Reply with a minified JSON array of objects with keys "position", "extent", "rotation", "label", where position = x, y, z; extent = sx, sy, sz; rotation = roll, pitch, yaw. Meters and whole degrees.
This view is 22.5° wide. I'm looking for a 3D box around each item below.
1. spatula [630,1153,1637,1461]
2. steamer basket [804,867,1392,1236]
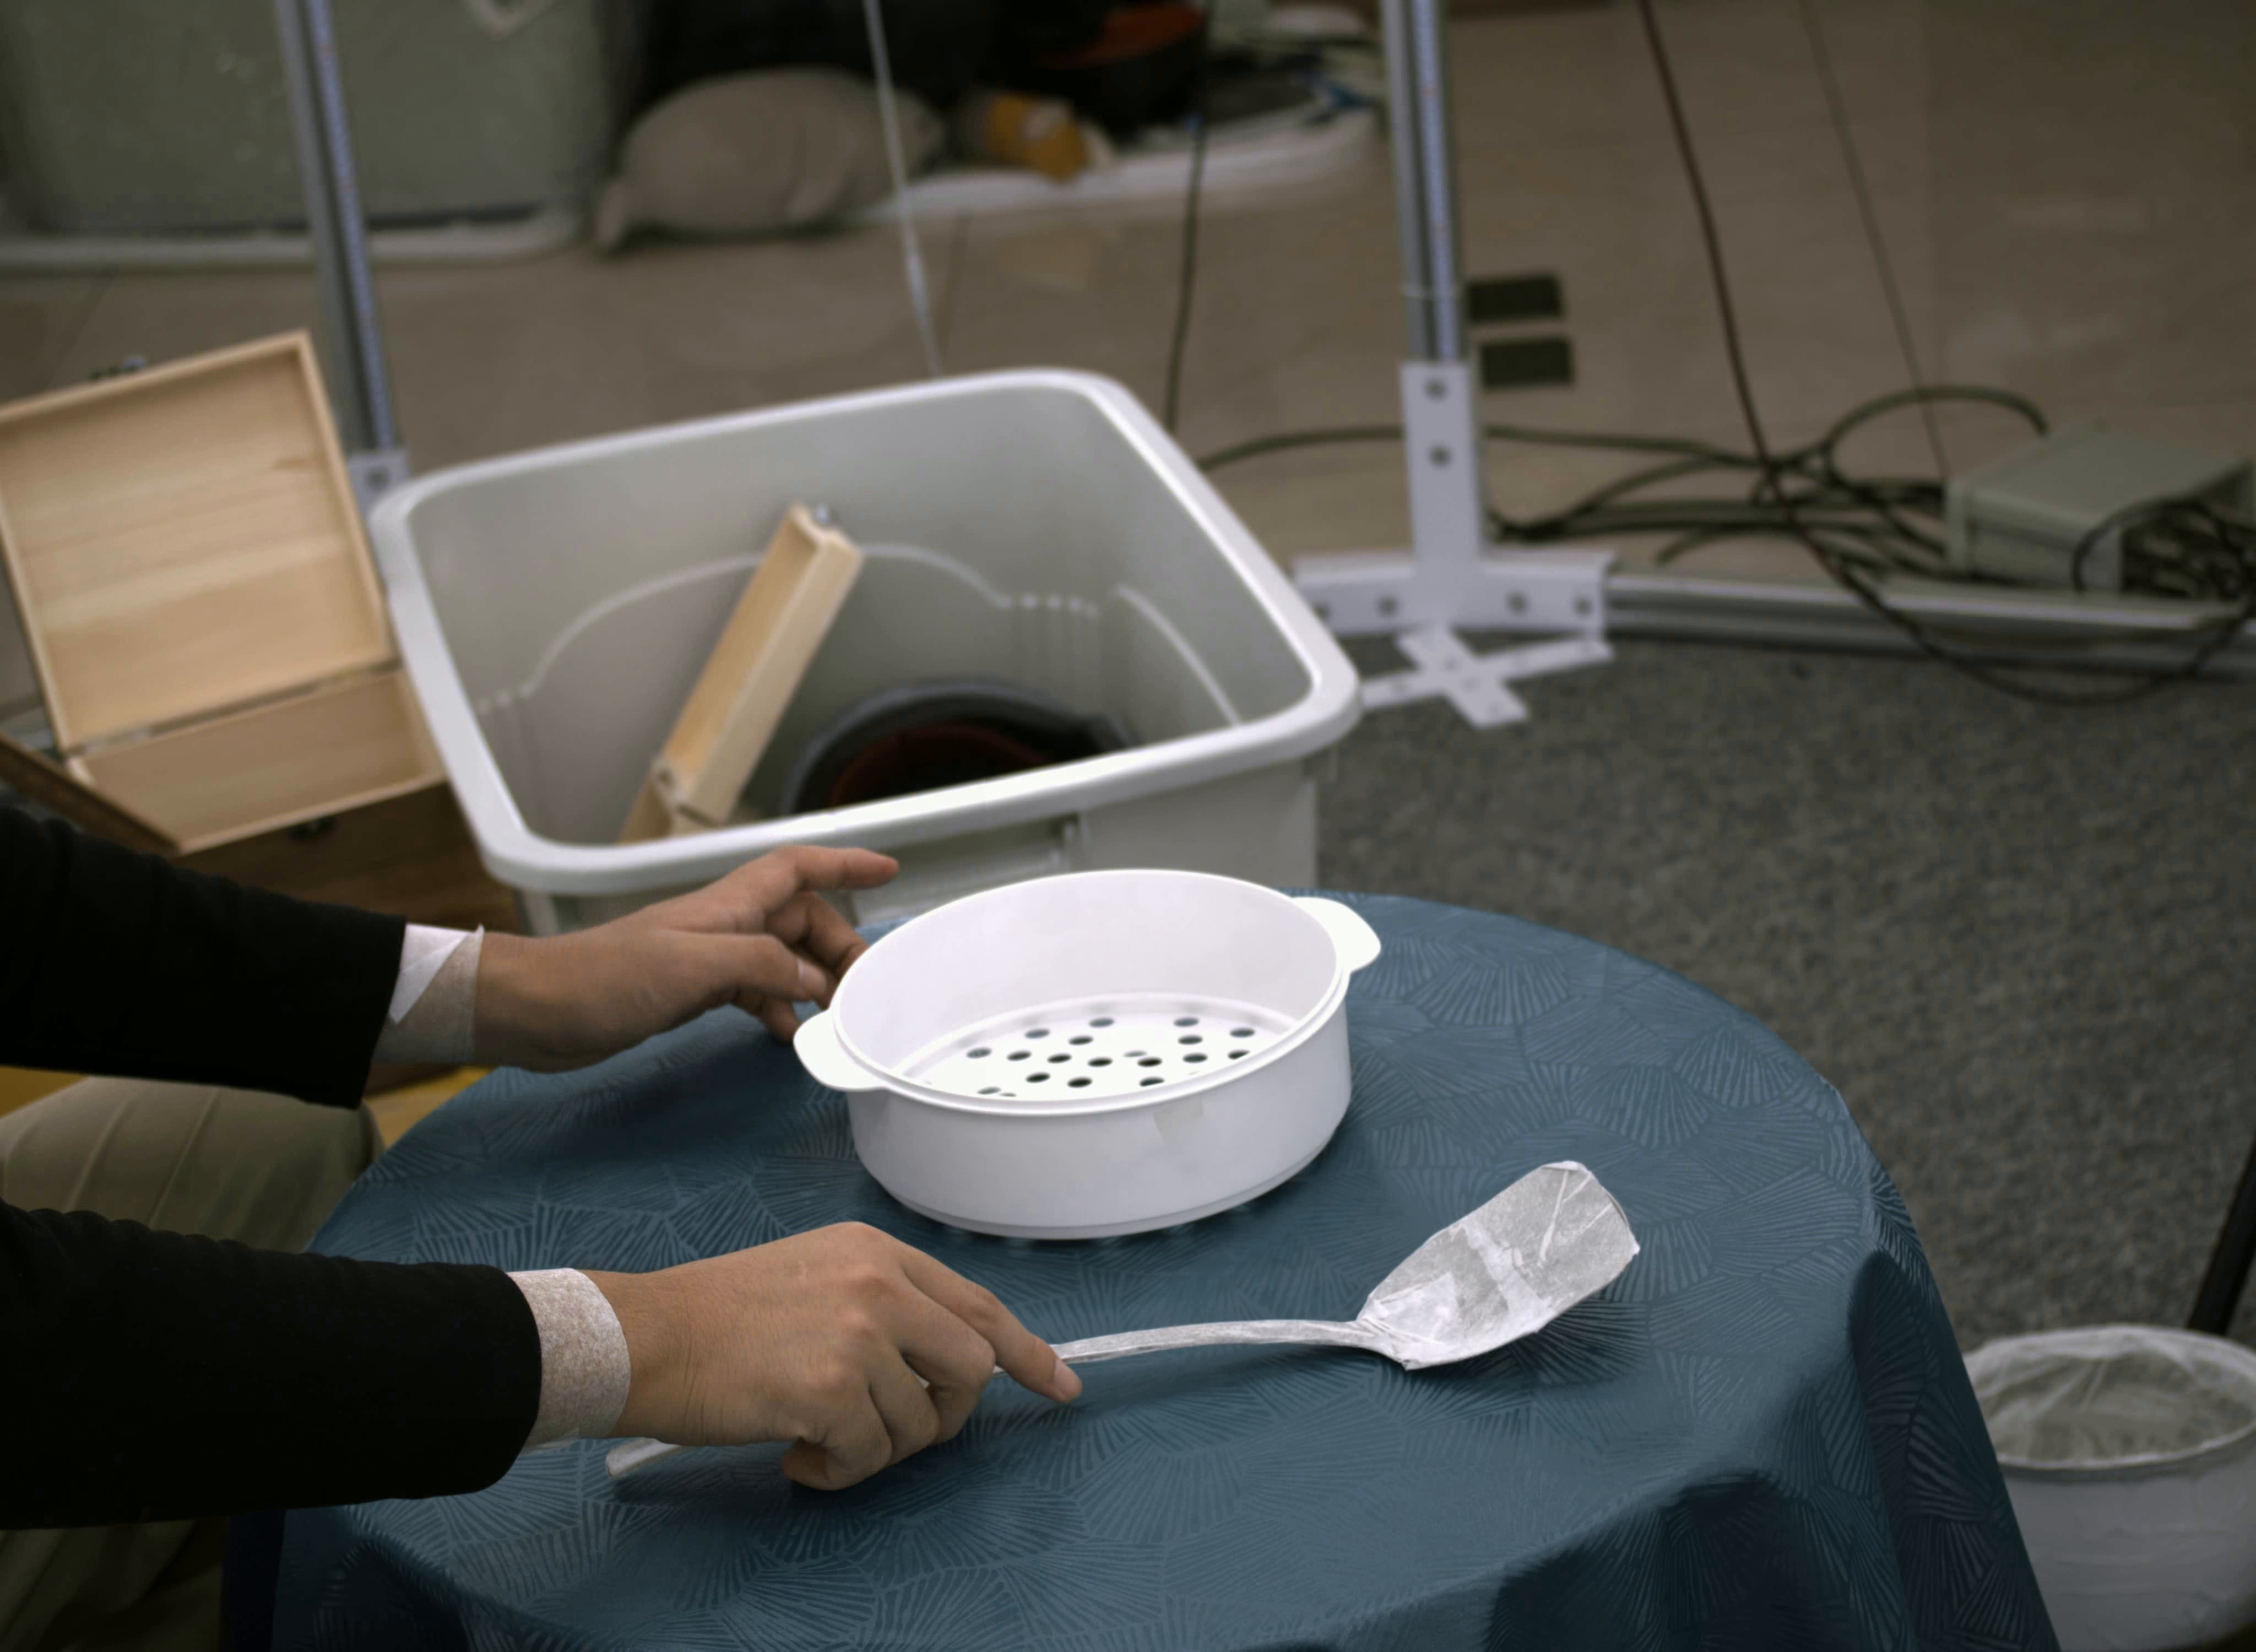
[{"position":[0.002,0.179,2.012],"extent":[0.364,0.045,0.097],"rotation":[-8,25,-7],"label":"spatula"},{"position":[-0.007,0.087,2.178],"extent":[0.230,0.070,0.199],"rotation":[-14,25,-13],"label":"steamer basket"}]
